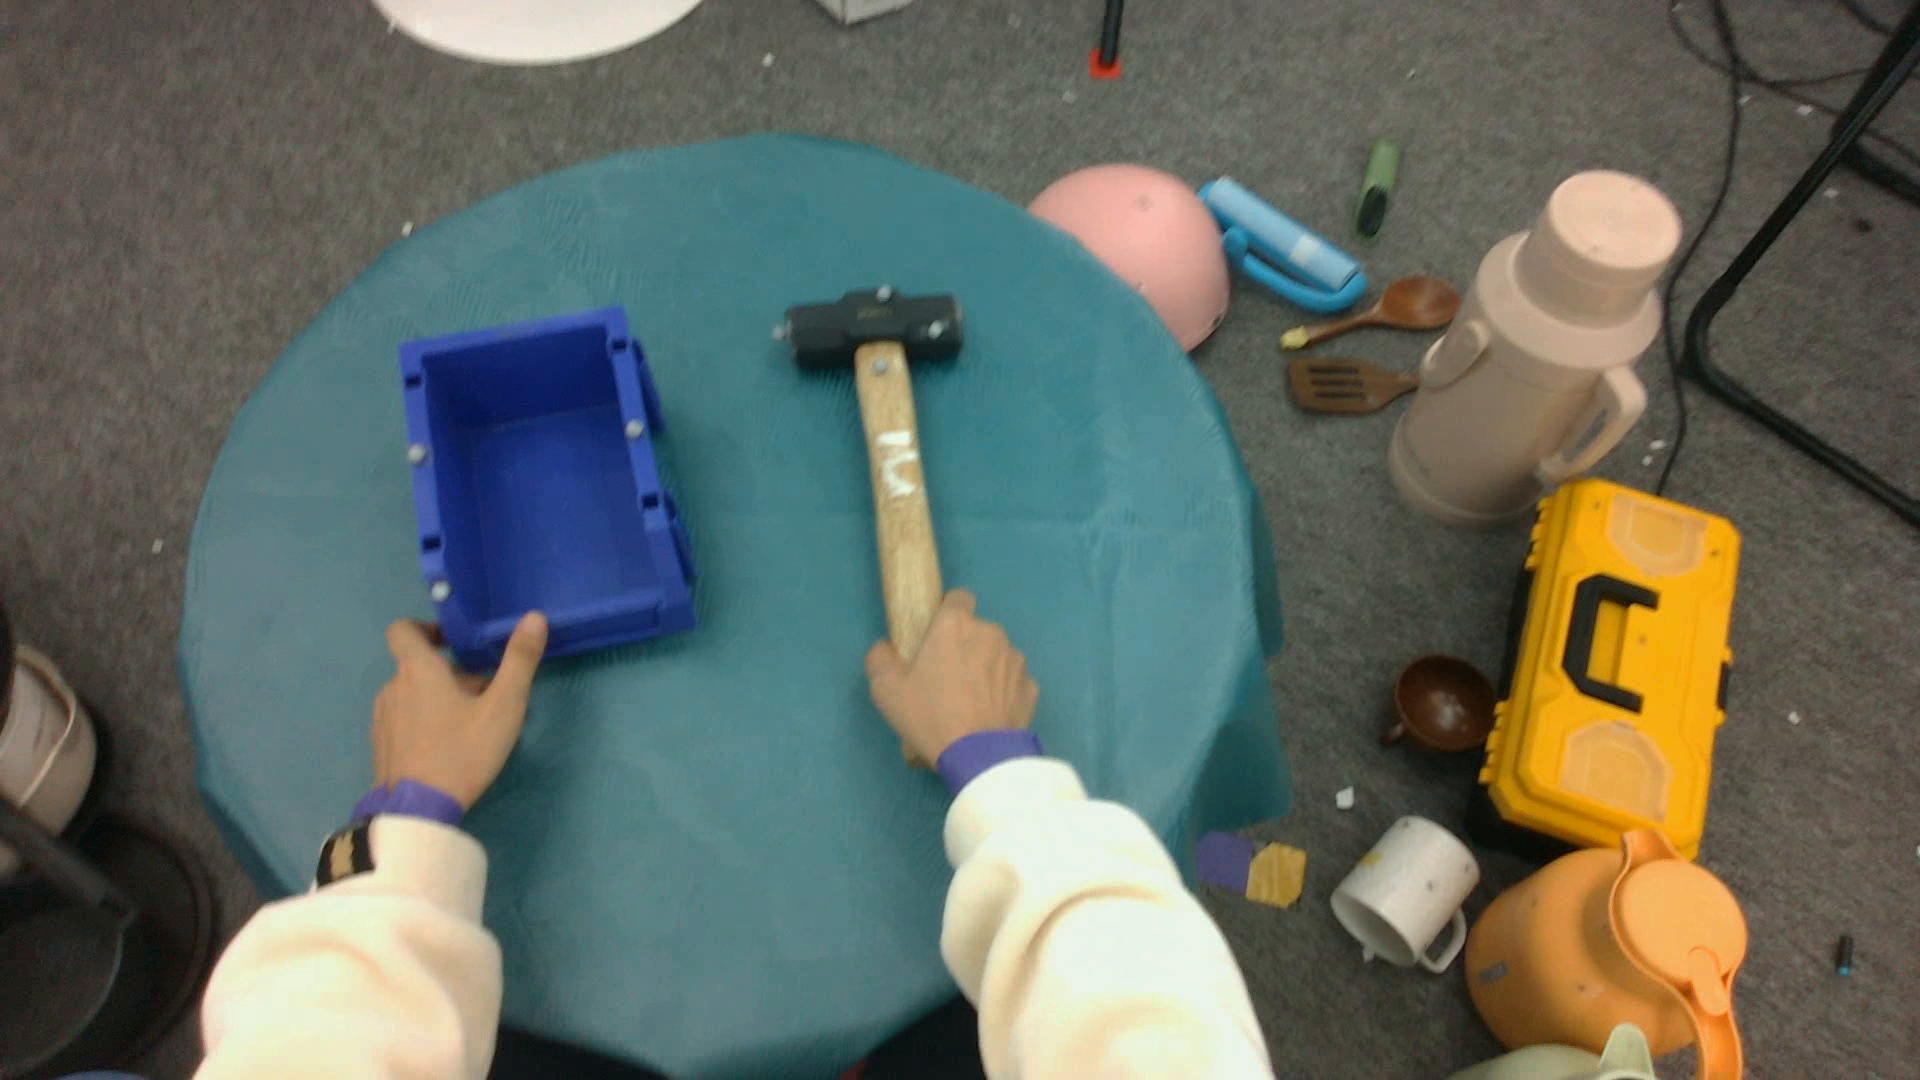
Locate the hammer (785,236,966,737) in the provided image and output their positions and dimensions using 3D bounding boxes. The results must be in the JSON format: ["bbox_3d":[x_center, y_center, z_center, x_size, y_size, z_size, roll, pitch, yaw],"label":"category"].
[{"bbox_3d":[-0.039,-0.039,0.760,0.107,0.038,0.306,-3,61,-4],"label":"hammer"}]

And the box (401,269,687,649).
[{"bbox_3d":[-0.218,-0.042,0.734,0.124,0.081,0.180,-11,61,-9],"label":"box"}]
